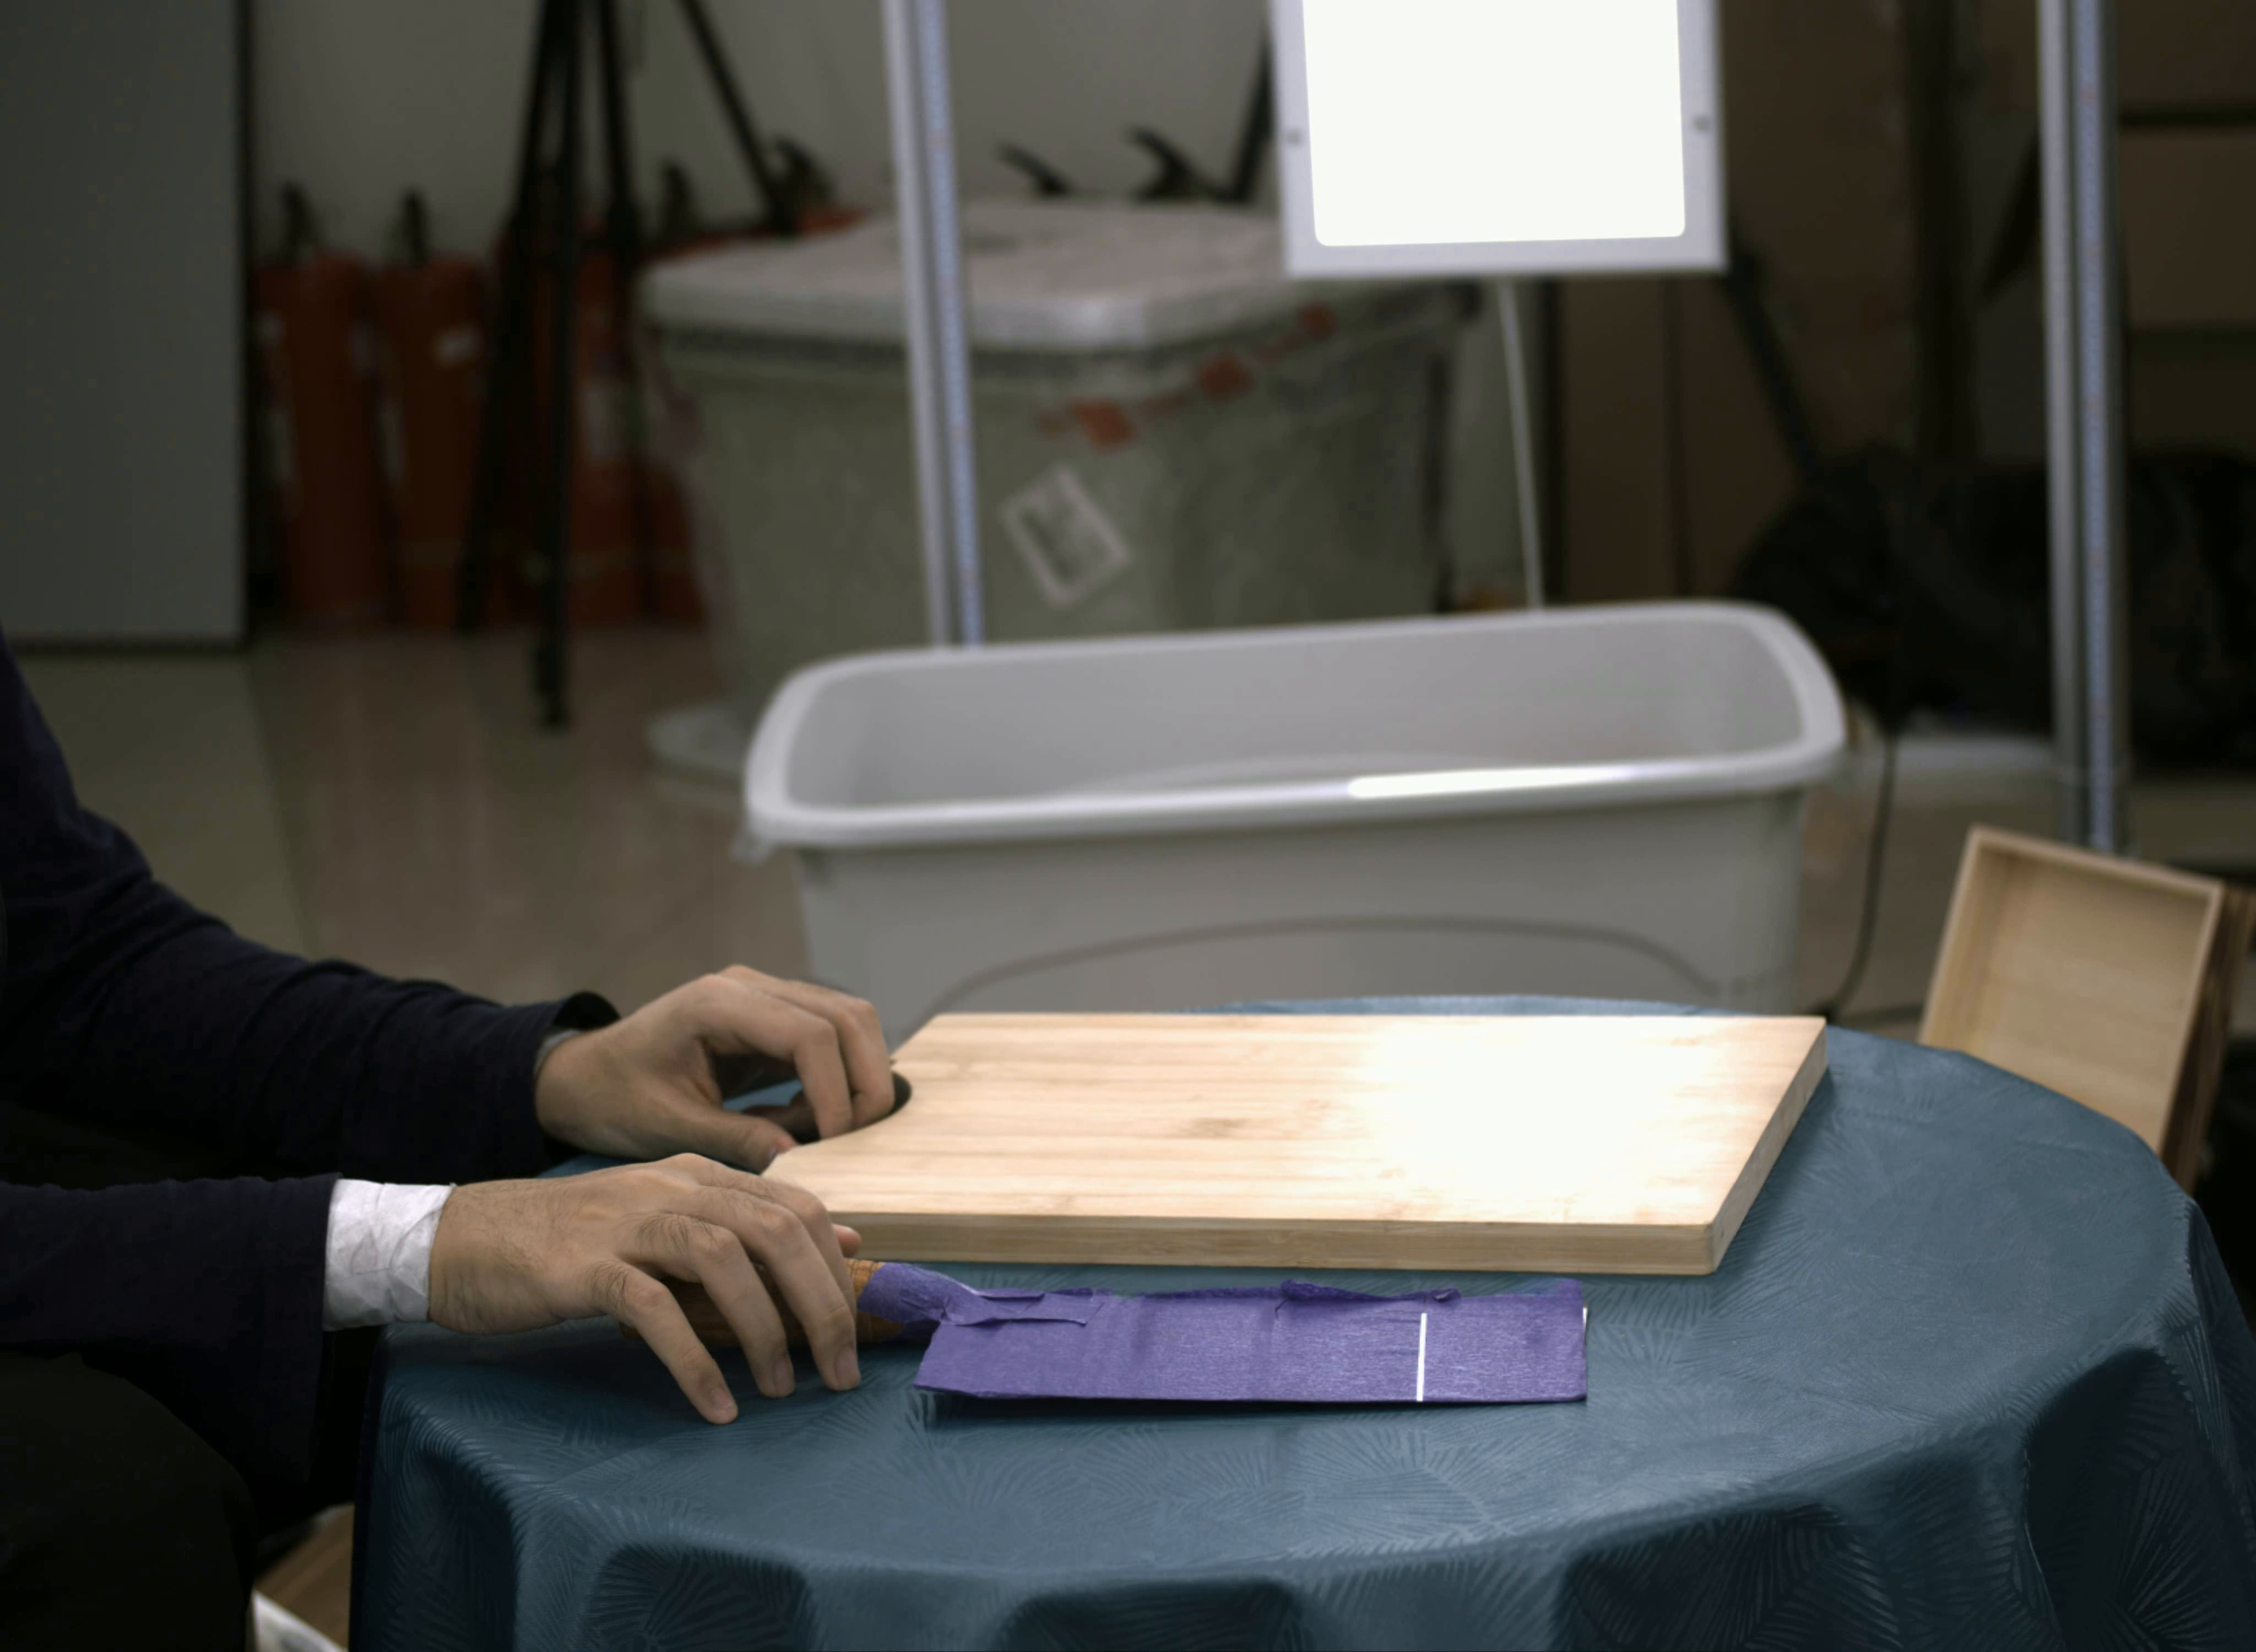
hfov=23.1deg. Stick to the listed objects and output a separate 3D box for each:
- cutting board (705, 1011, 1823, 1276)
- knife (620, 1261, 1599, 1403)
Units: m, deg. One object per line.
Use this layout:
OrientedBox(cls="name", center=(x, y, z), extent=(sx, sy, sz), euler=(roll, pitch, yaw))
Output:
OrientedBox(cls="cutting board", center=(0.054, 0.108, 1.926), extent=(0.353, 0.023, 0.247), euler=(-1, 14, 18))
OrientedBox(cls="knife", center=(-0.010, 0.157, 1.724), extent=(0.316, 0.032, 0.103), euler=(-3, 13, 9))
